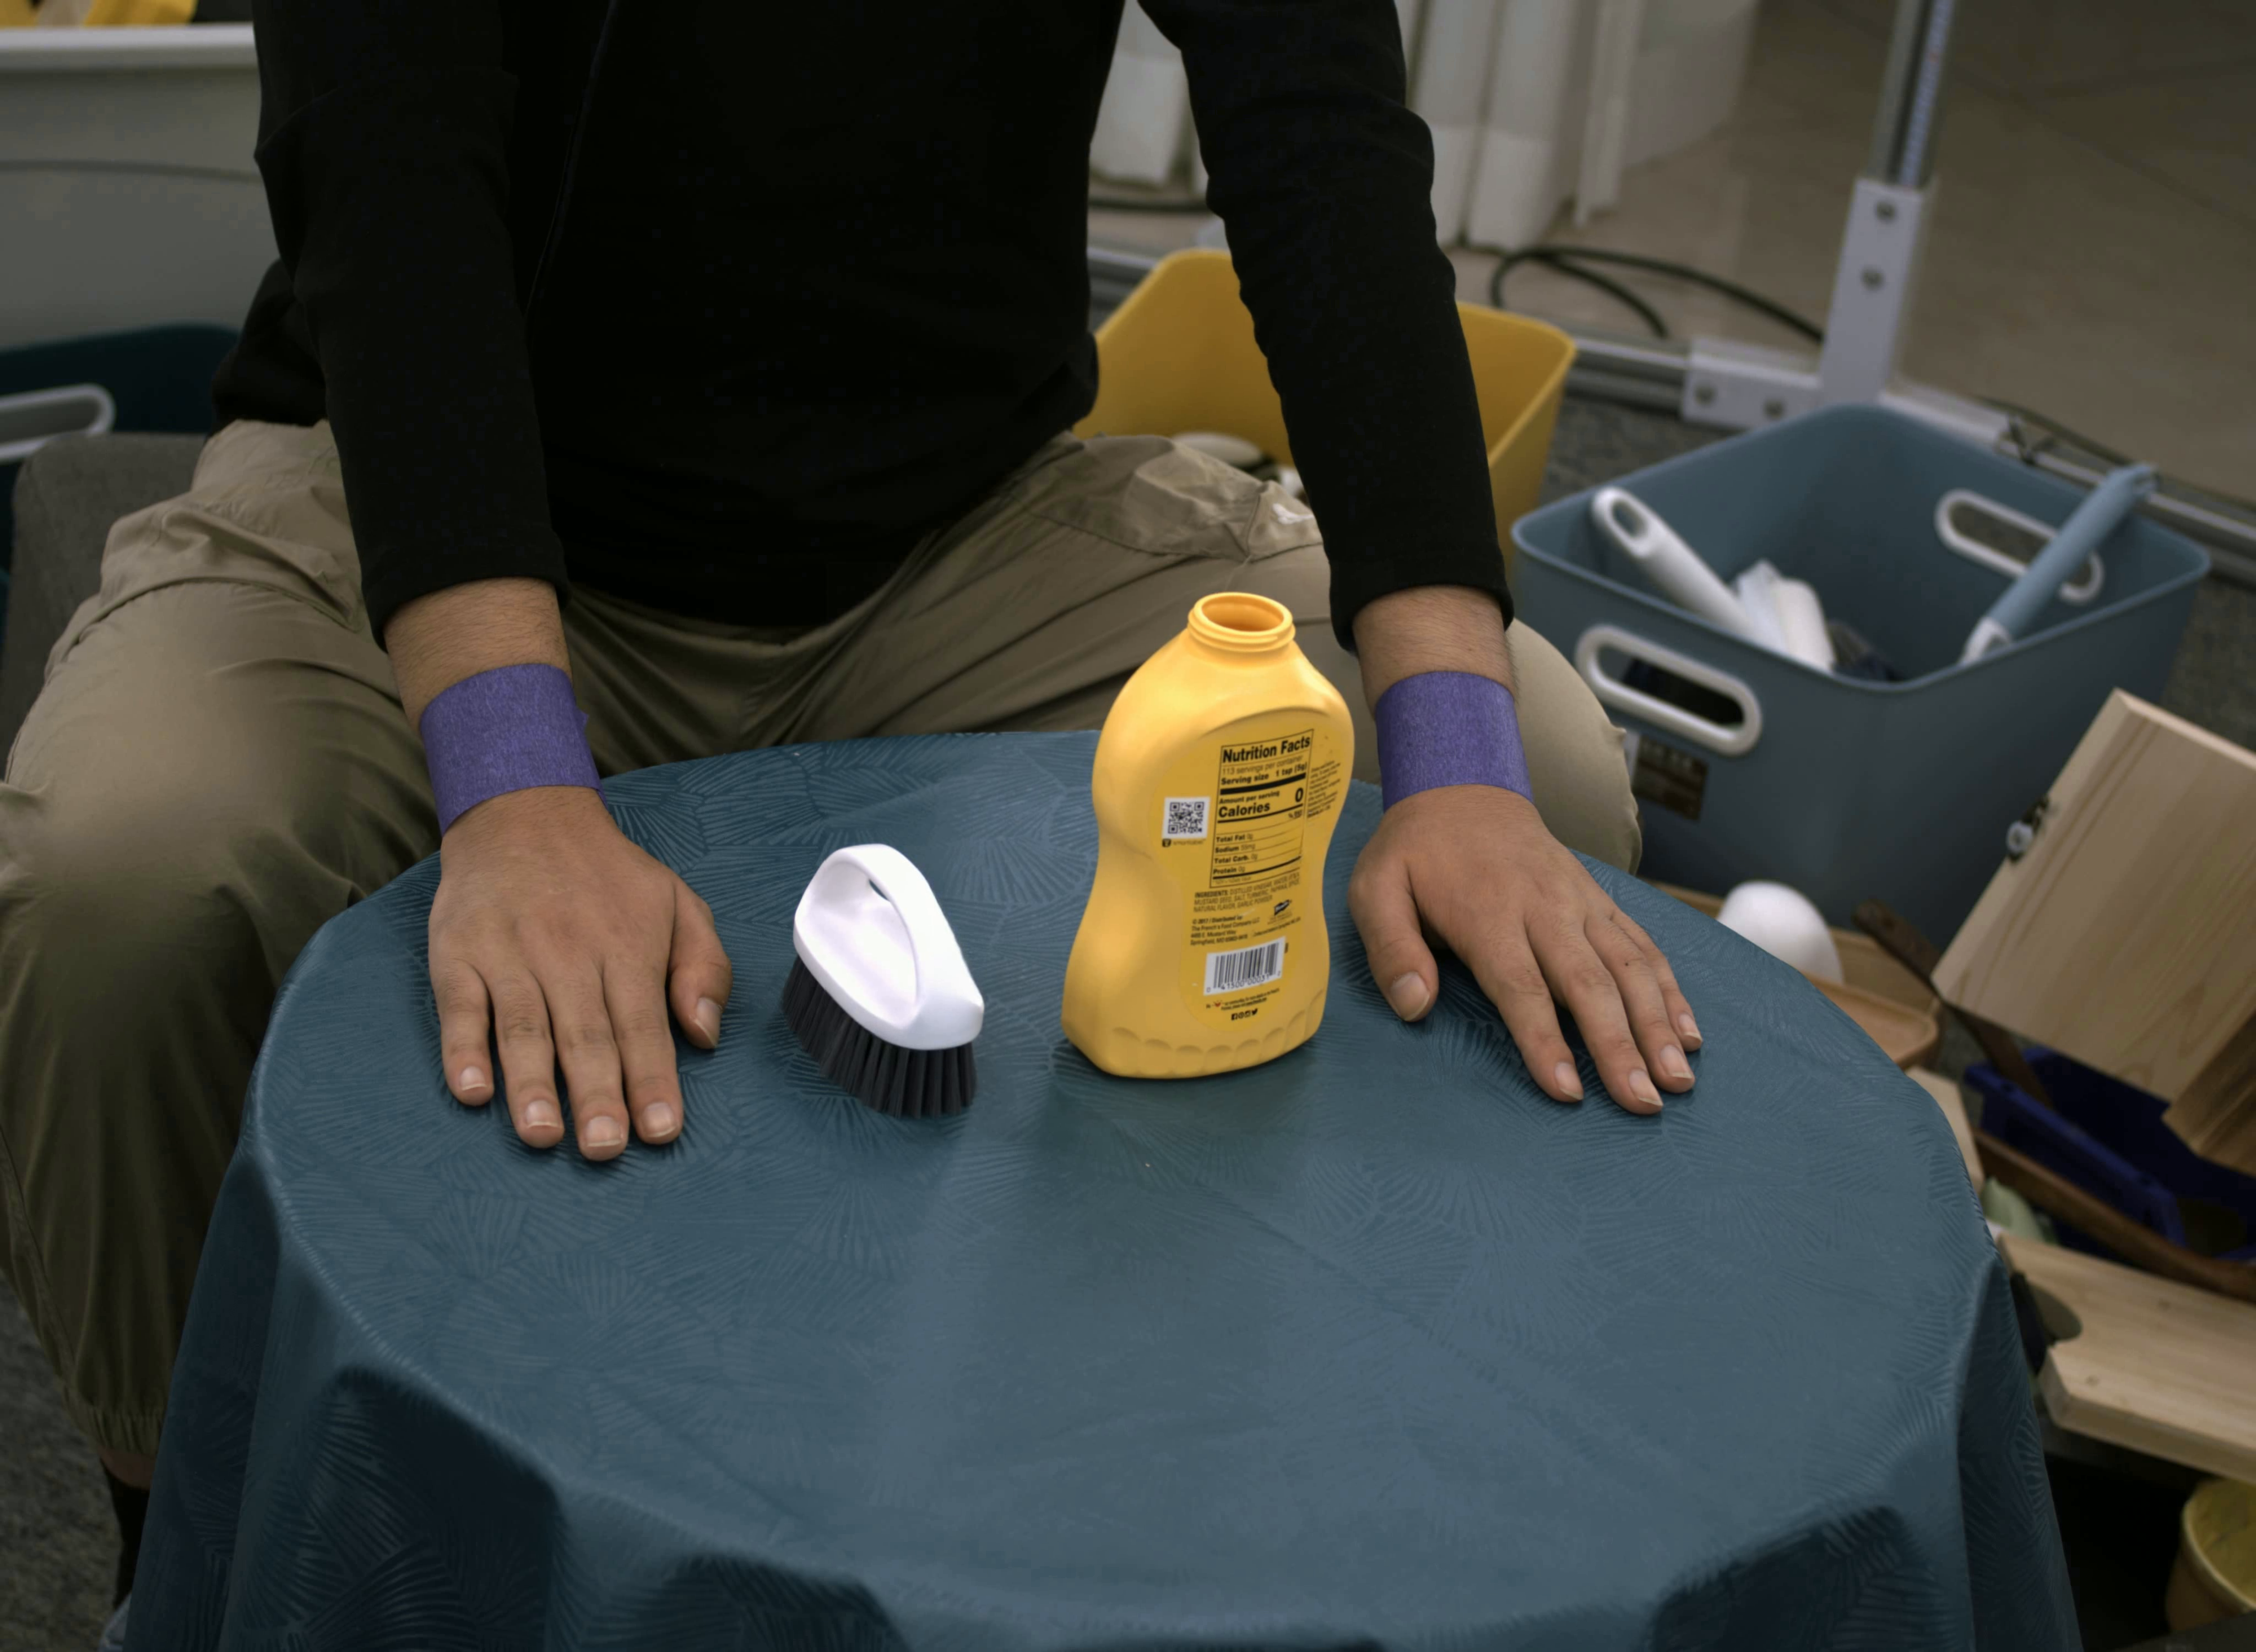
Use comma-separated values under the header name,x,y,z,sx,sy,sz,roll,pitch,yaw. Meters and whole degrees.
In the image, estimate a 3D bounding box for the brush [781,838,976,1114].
name,x,y,z,sx,sy,sz,roll,pitch,yaw
brush,-0.085,0.045,1.853,0.050,0.072,0.100,-5,30,-26

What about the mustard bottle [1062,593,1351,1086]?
name,x,y,z,sx,sy,sz,roll,pitch,yaw
mustard bottle,0.029,0.003,1.859,0.097,0.171,0.060,-12,28,-30
